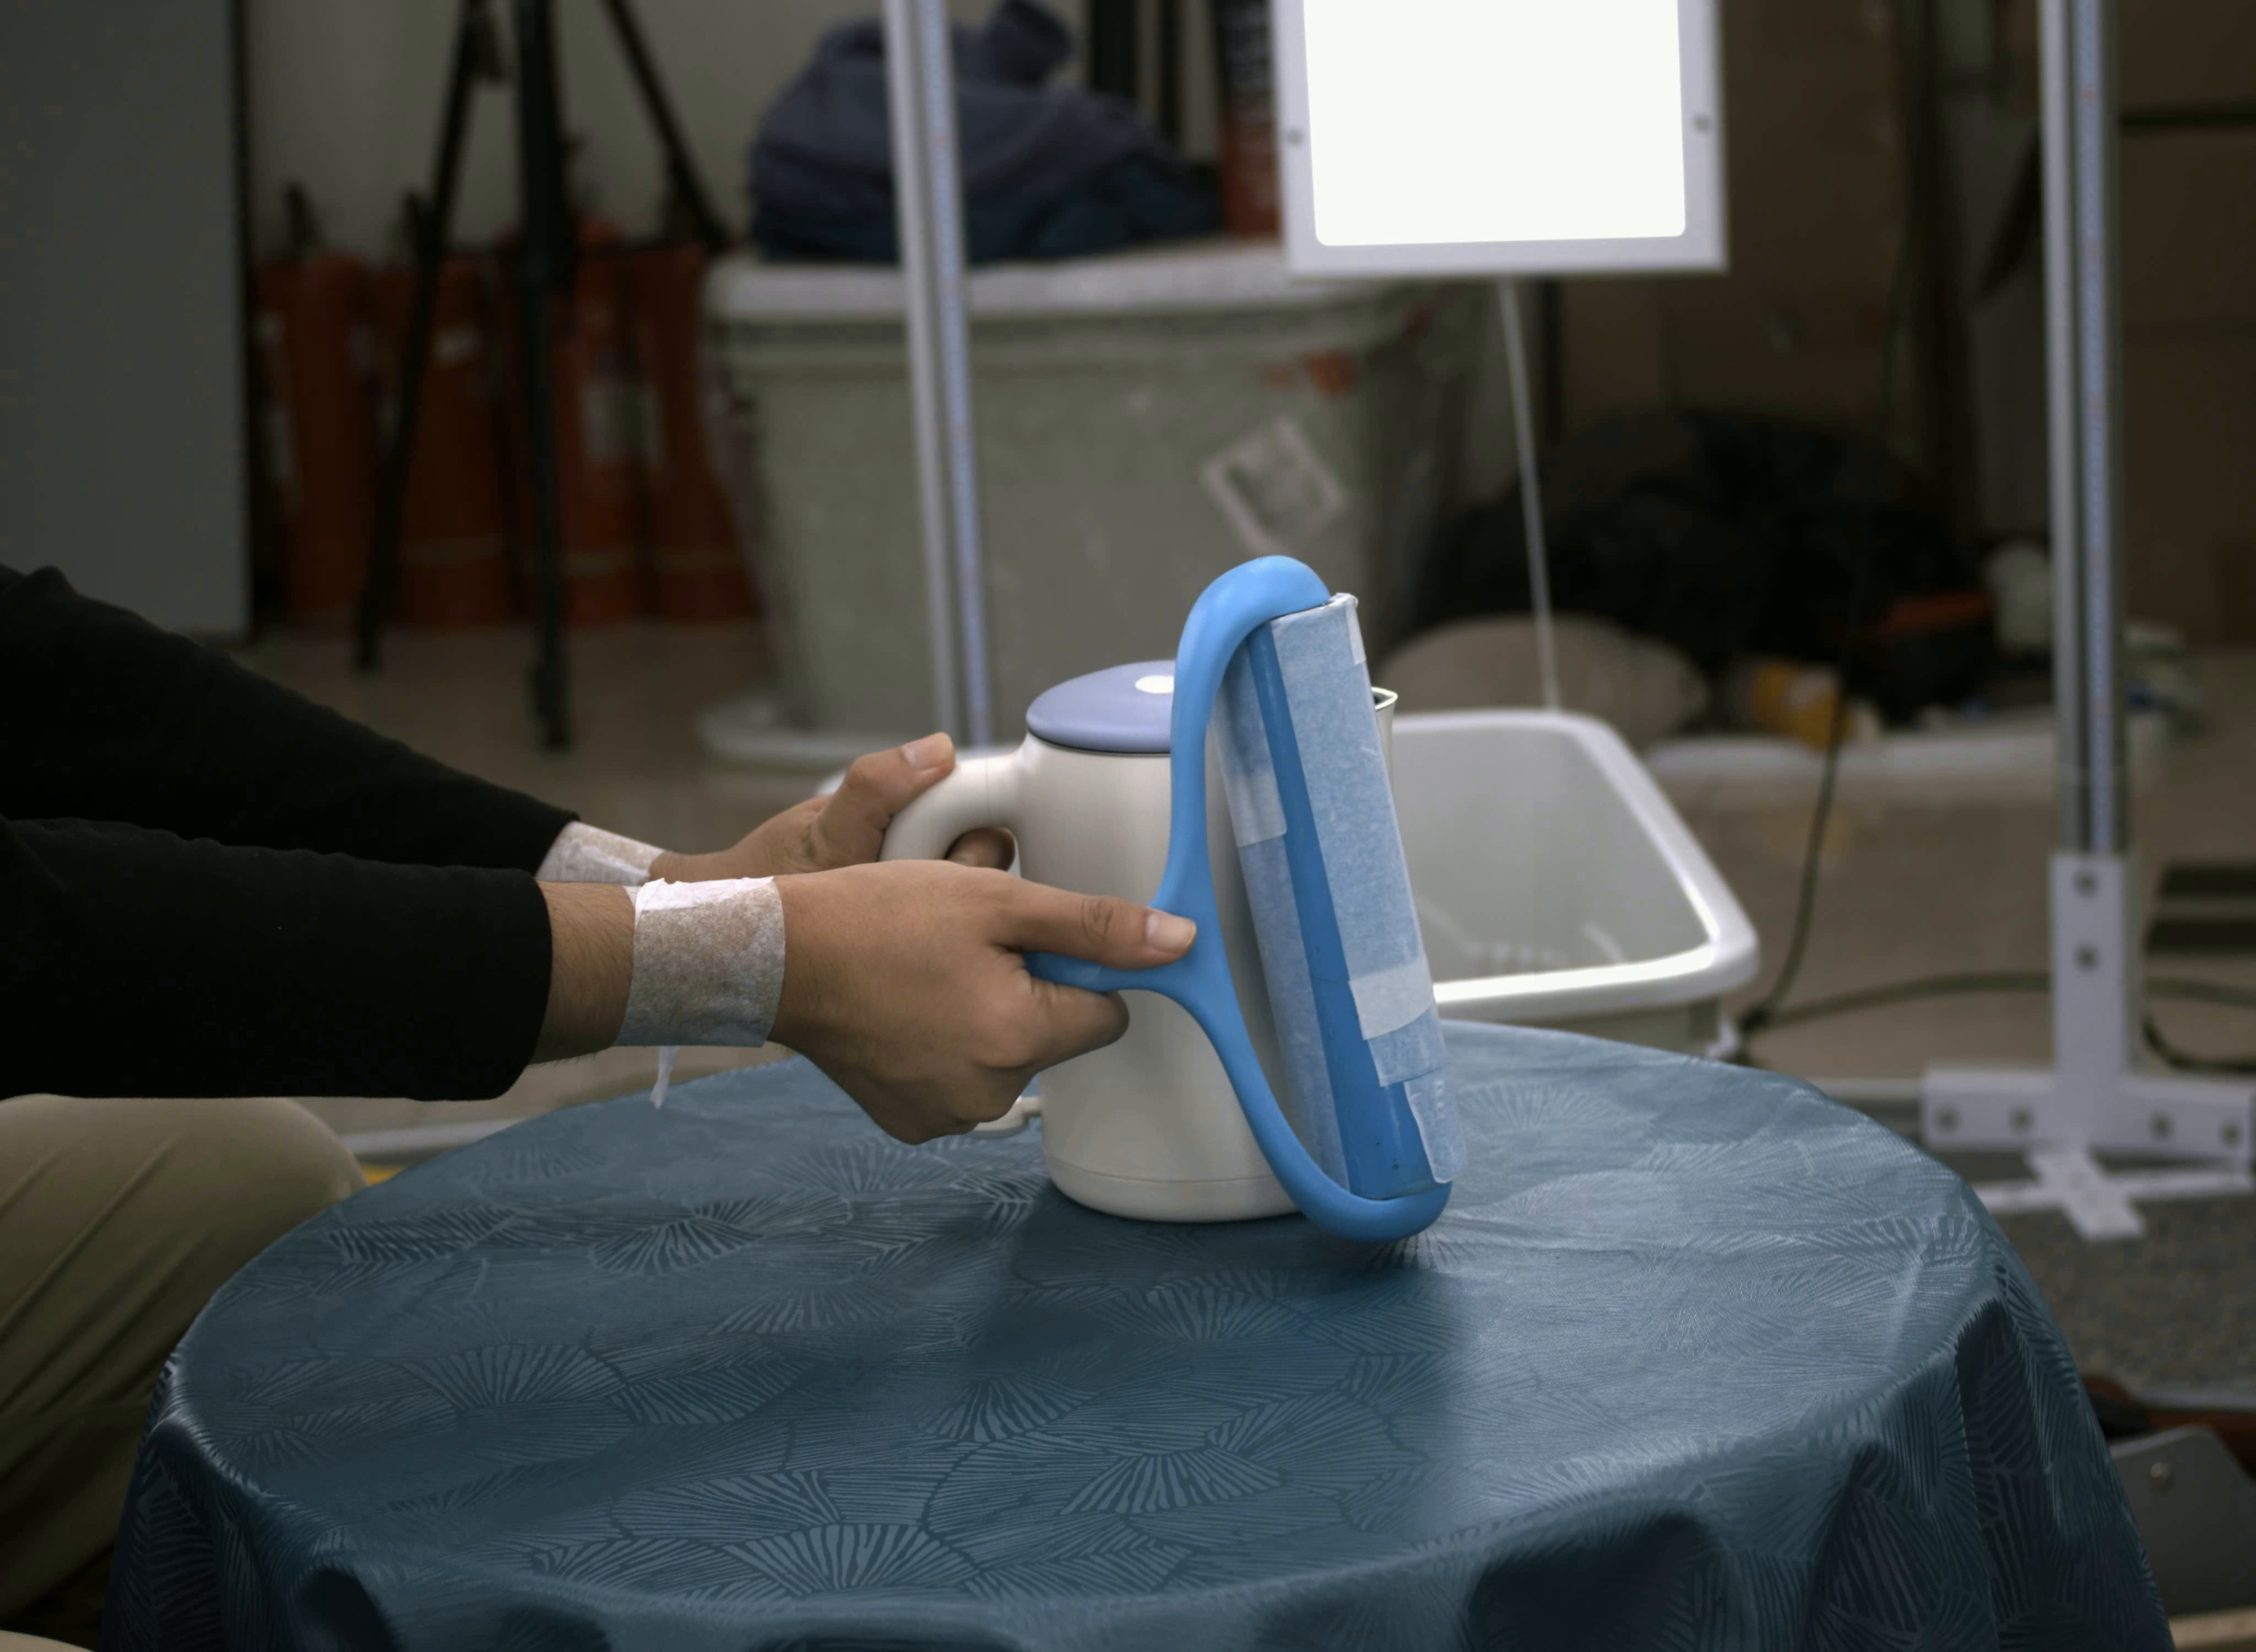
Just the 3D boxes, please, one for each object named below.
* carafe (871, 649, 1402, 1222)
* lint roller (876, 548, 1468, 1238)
[{"bbox_3d":[0.006,0.039,1.891,0.191,0.183,0.132,-7,13,2],"label":"carafe"},{"bbox_3d":[0.011,0.037,1.785,0.178,0.229,0.068,-15,8,-12],"label":"lint roller"}]
